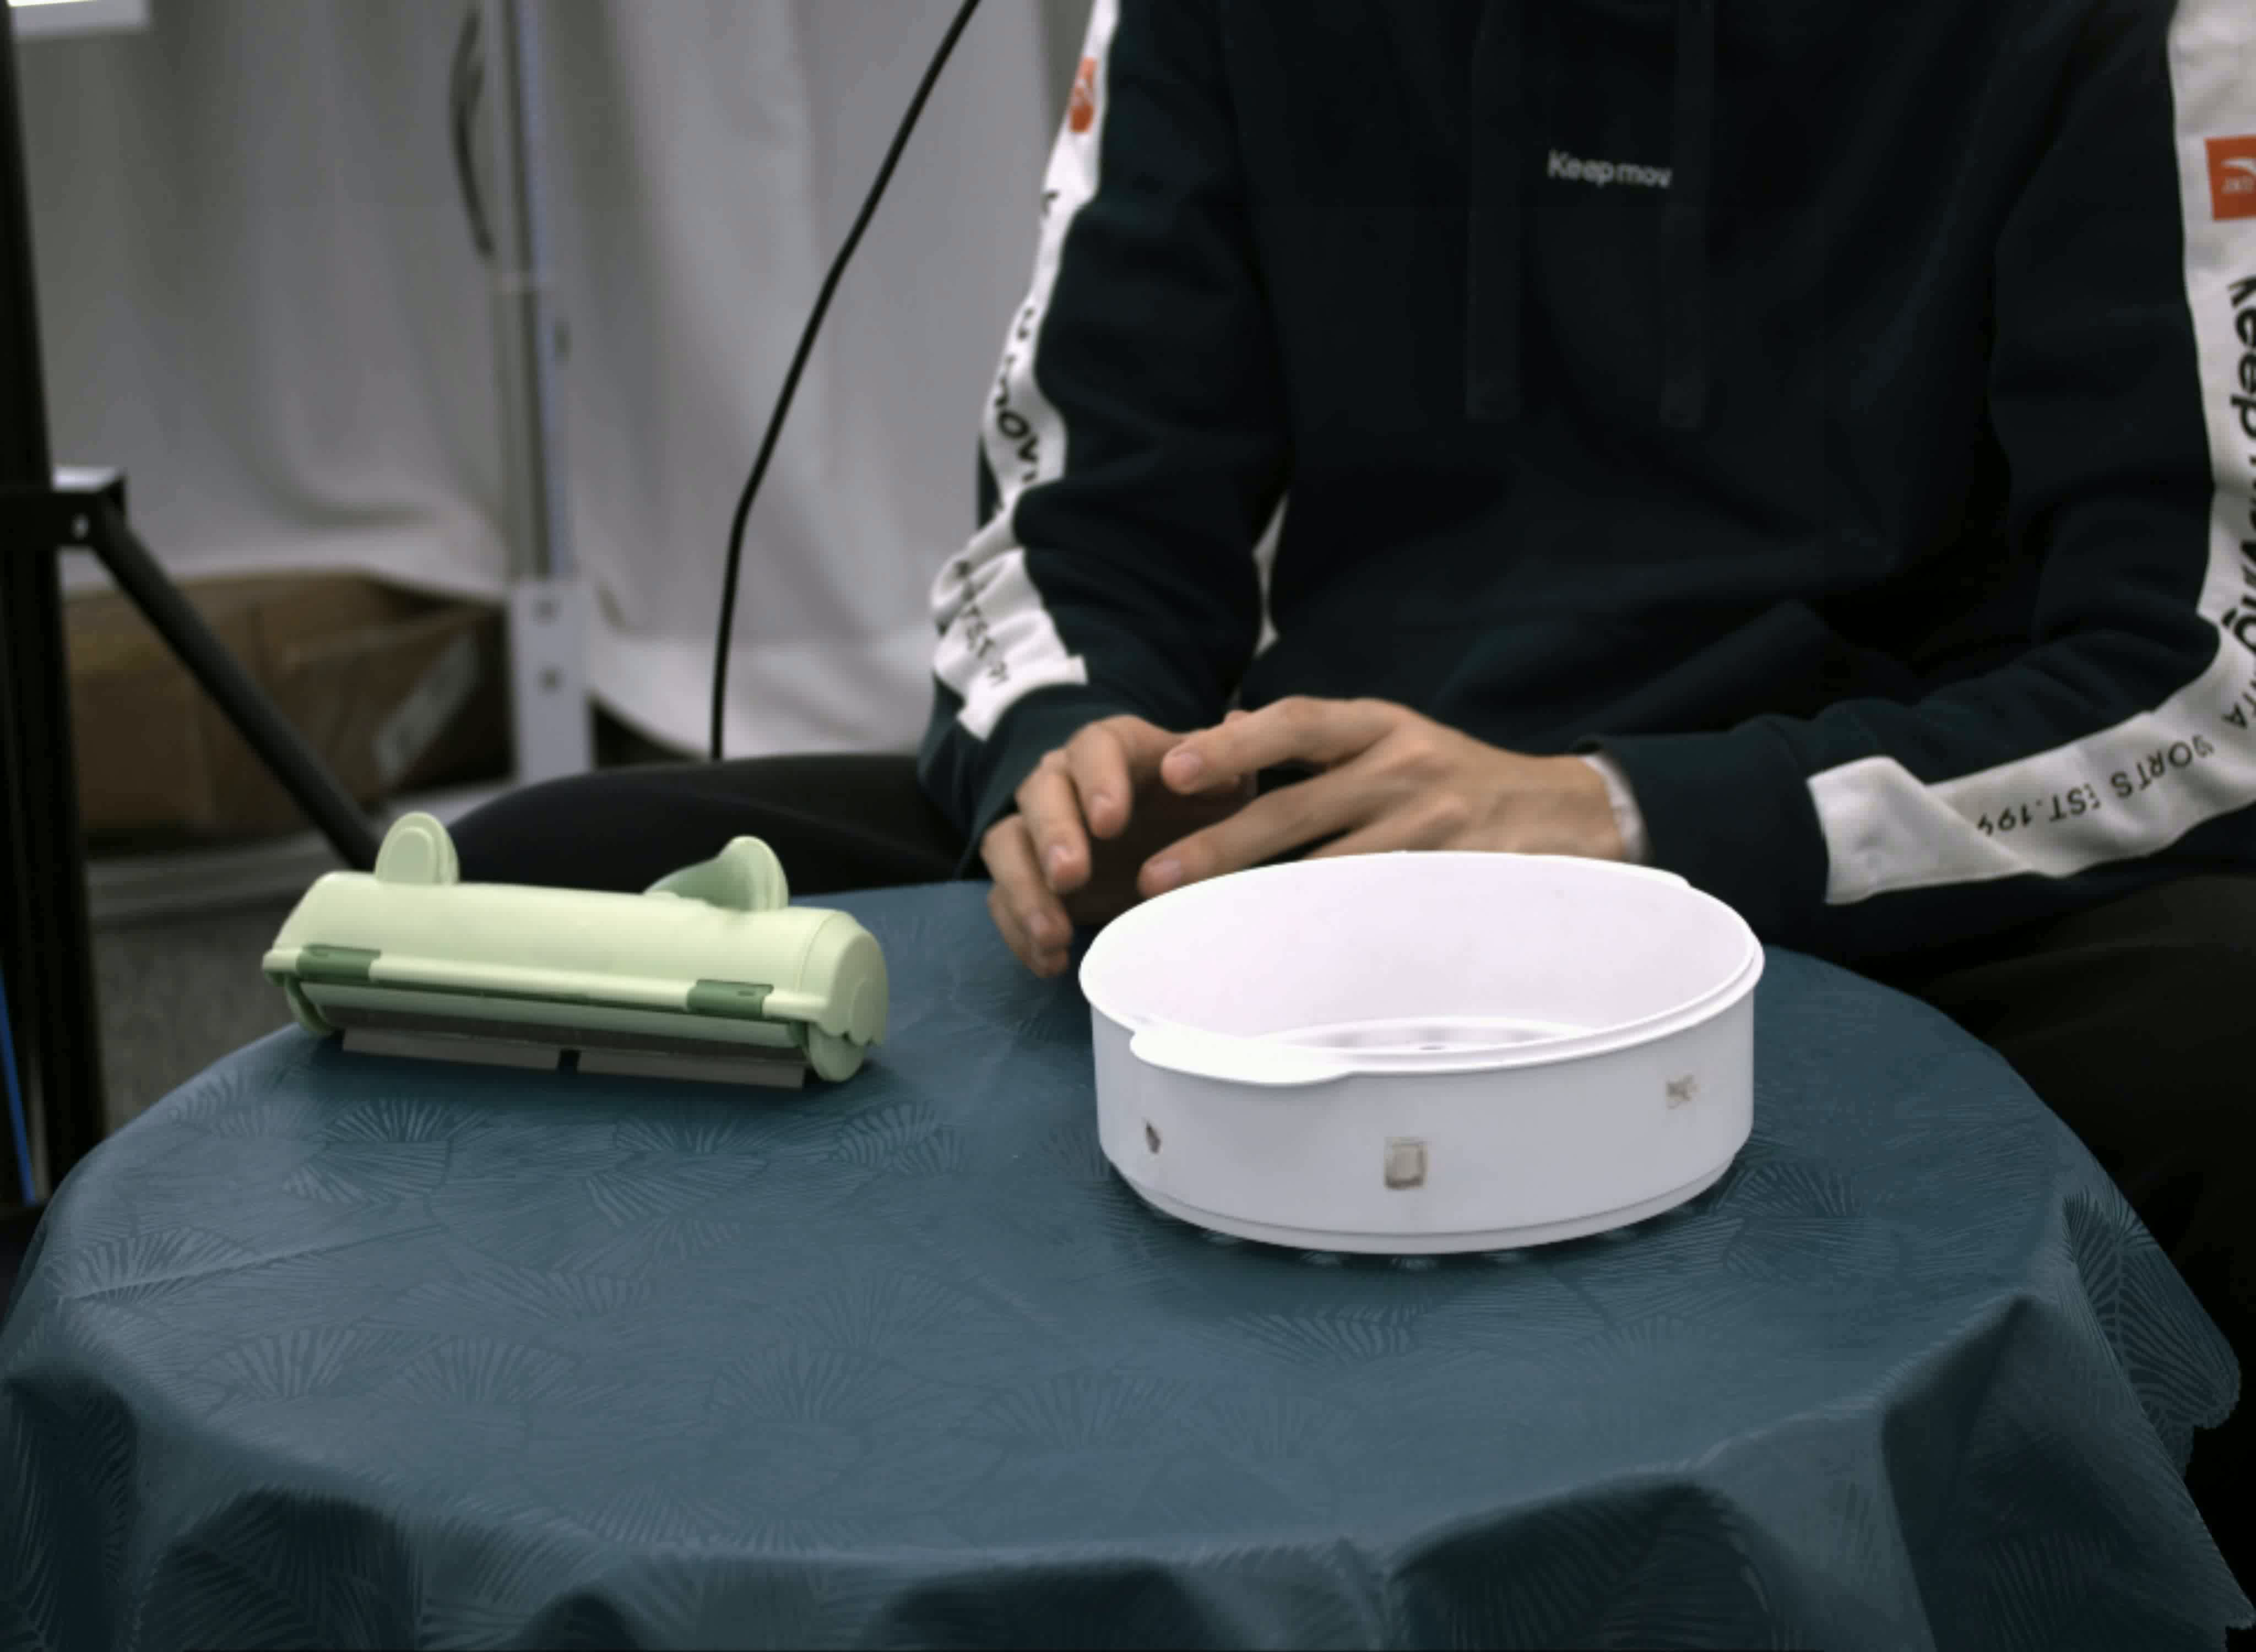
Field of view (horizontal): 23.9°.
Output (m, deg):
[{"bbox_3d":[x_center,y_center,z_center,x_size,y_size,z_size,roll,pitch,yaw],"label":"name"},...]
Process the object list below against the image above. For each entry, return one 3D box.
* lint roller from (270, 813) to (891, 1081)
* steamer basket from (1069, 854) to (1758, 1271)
[{"bbox_3d":[-0.155,0.023,1.745,0.201,0.082,0.181,4,21,22],"label":"lint roller"},{"bbox_3d":[0.084,0.069,1.556,0.206,0.069,0.226,8,20,35],"label":"steamer basket"}]
